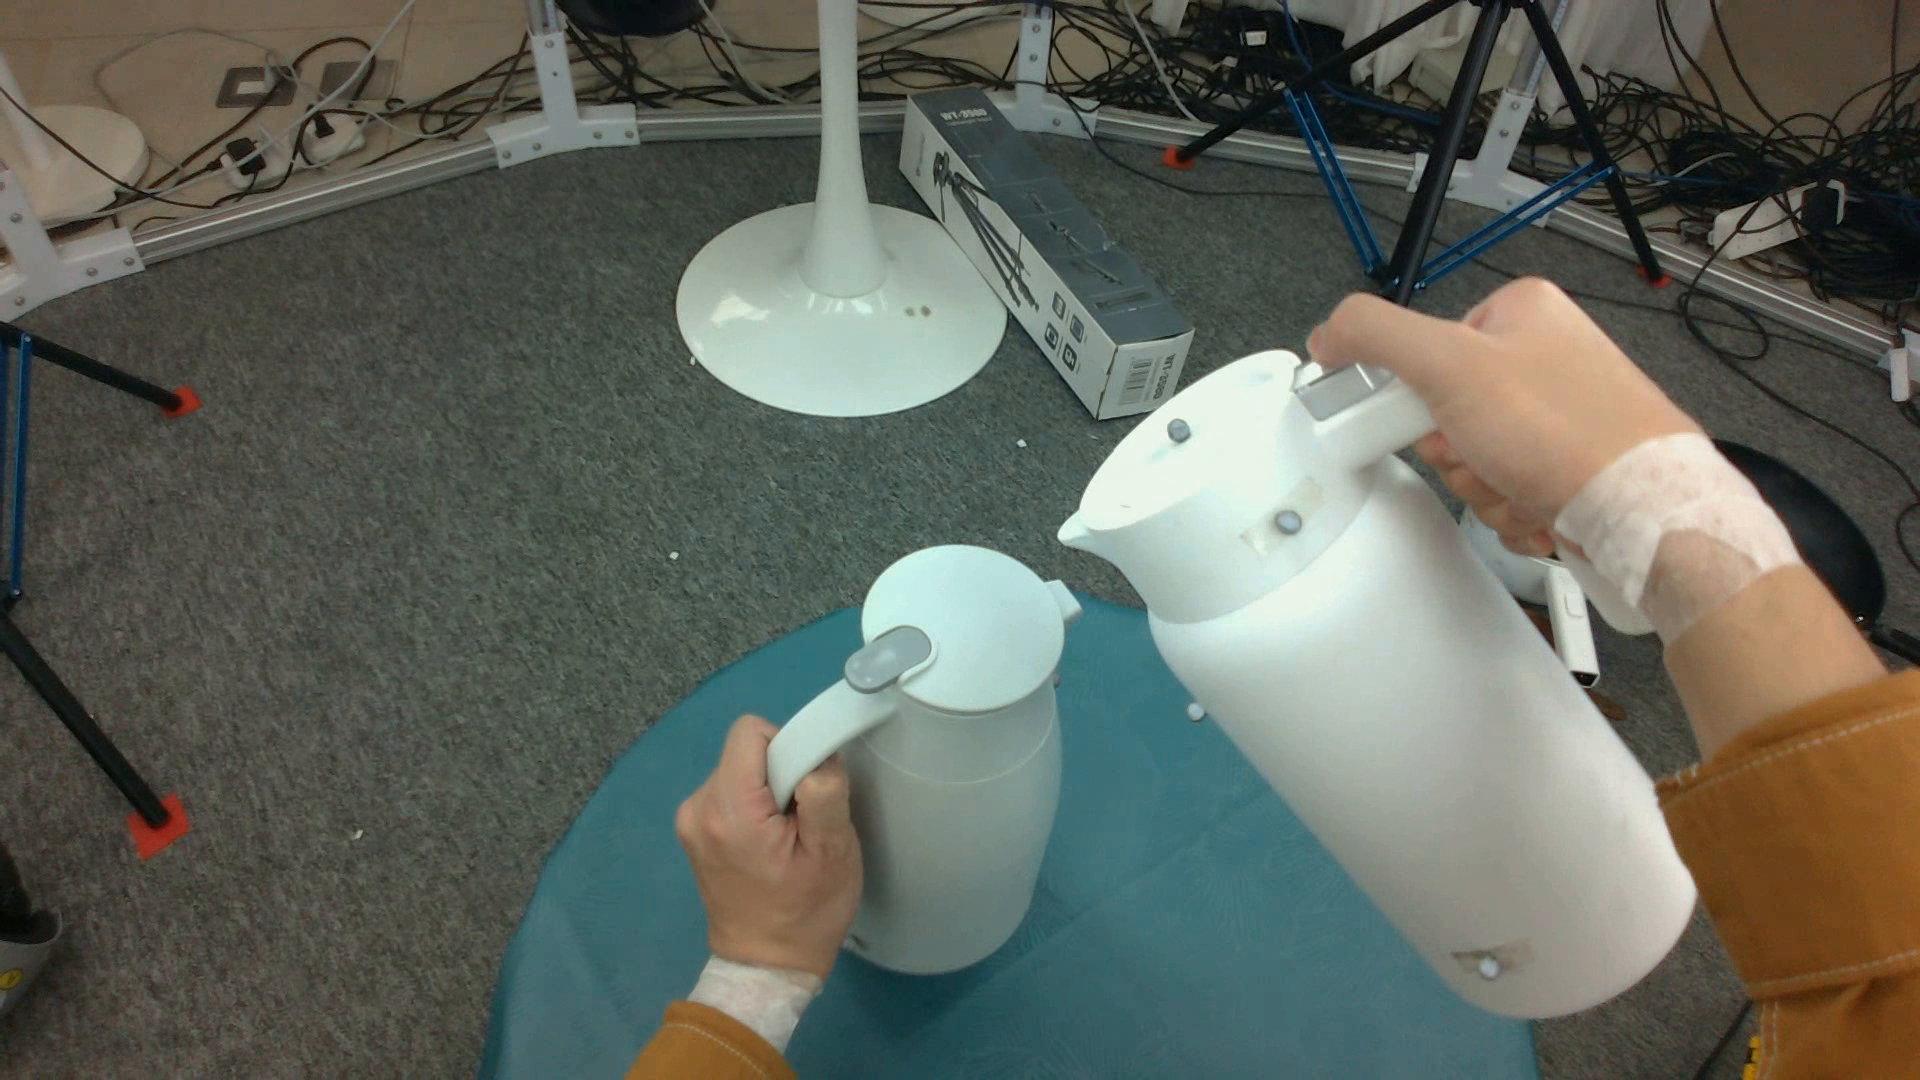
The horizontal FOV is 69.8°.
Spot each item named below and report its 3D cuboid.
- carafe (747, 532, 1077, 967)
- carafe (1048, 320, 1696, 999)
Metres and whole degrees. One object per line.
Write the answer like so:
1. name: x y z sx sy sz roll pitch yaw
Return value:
1. carafe: -0.027 0.113 0.693 0.168 0.247 0.133 -24 57 -24
2. carafe: 0.178 0.043 0.529 0.268 0.172 0.124 50 35 -14
